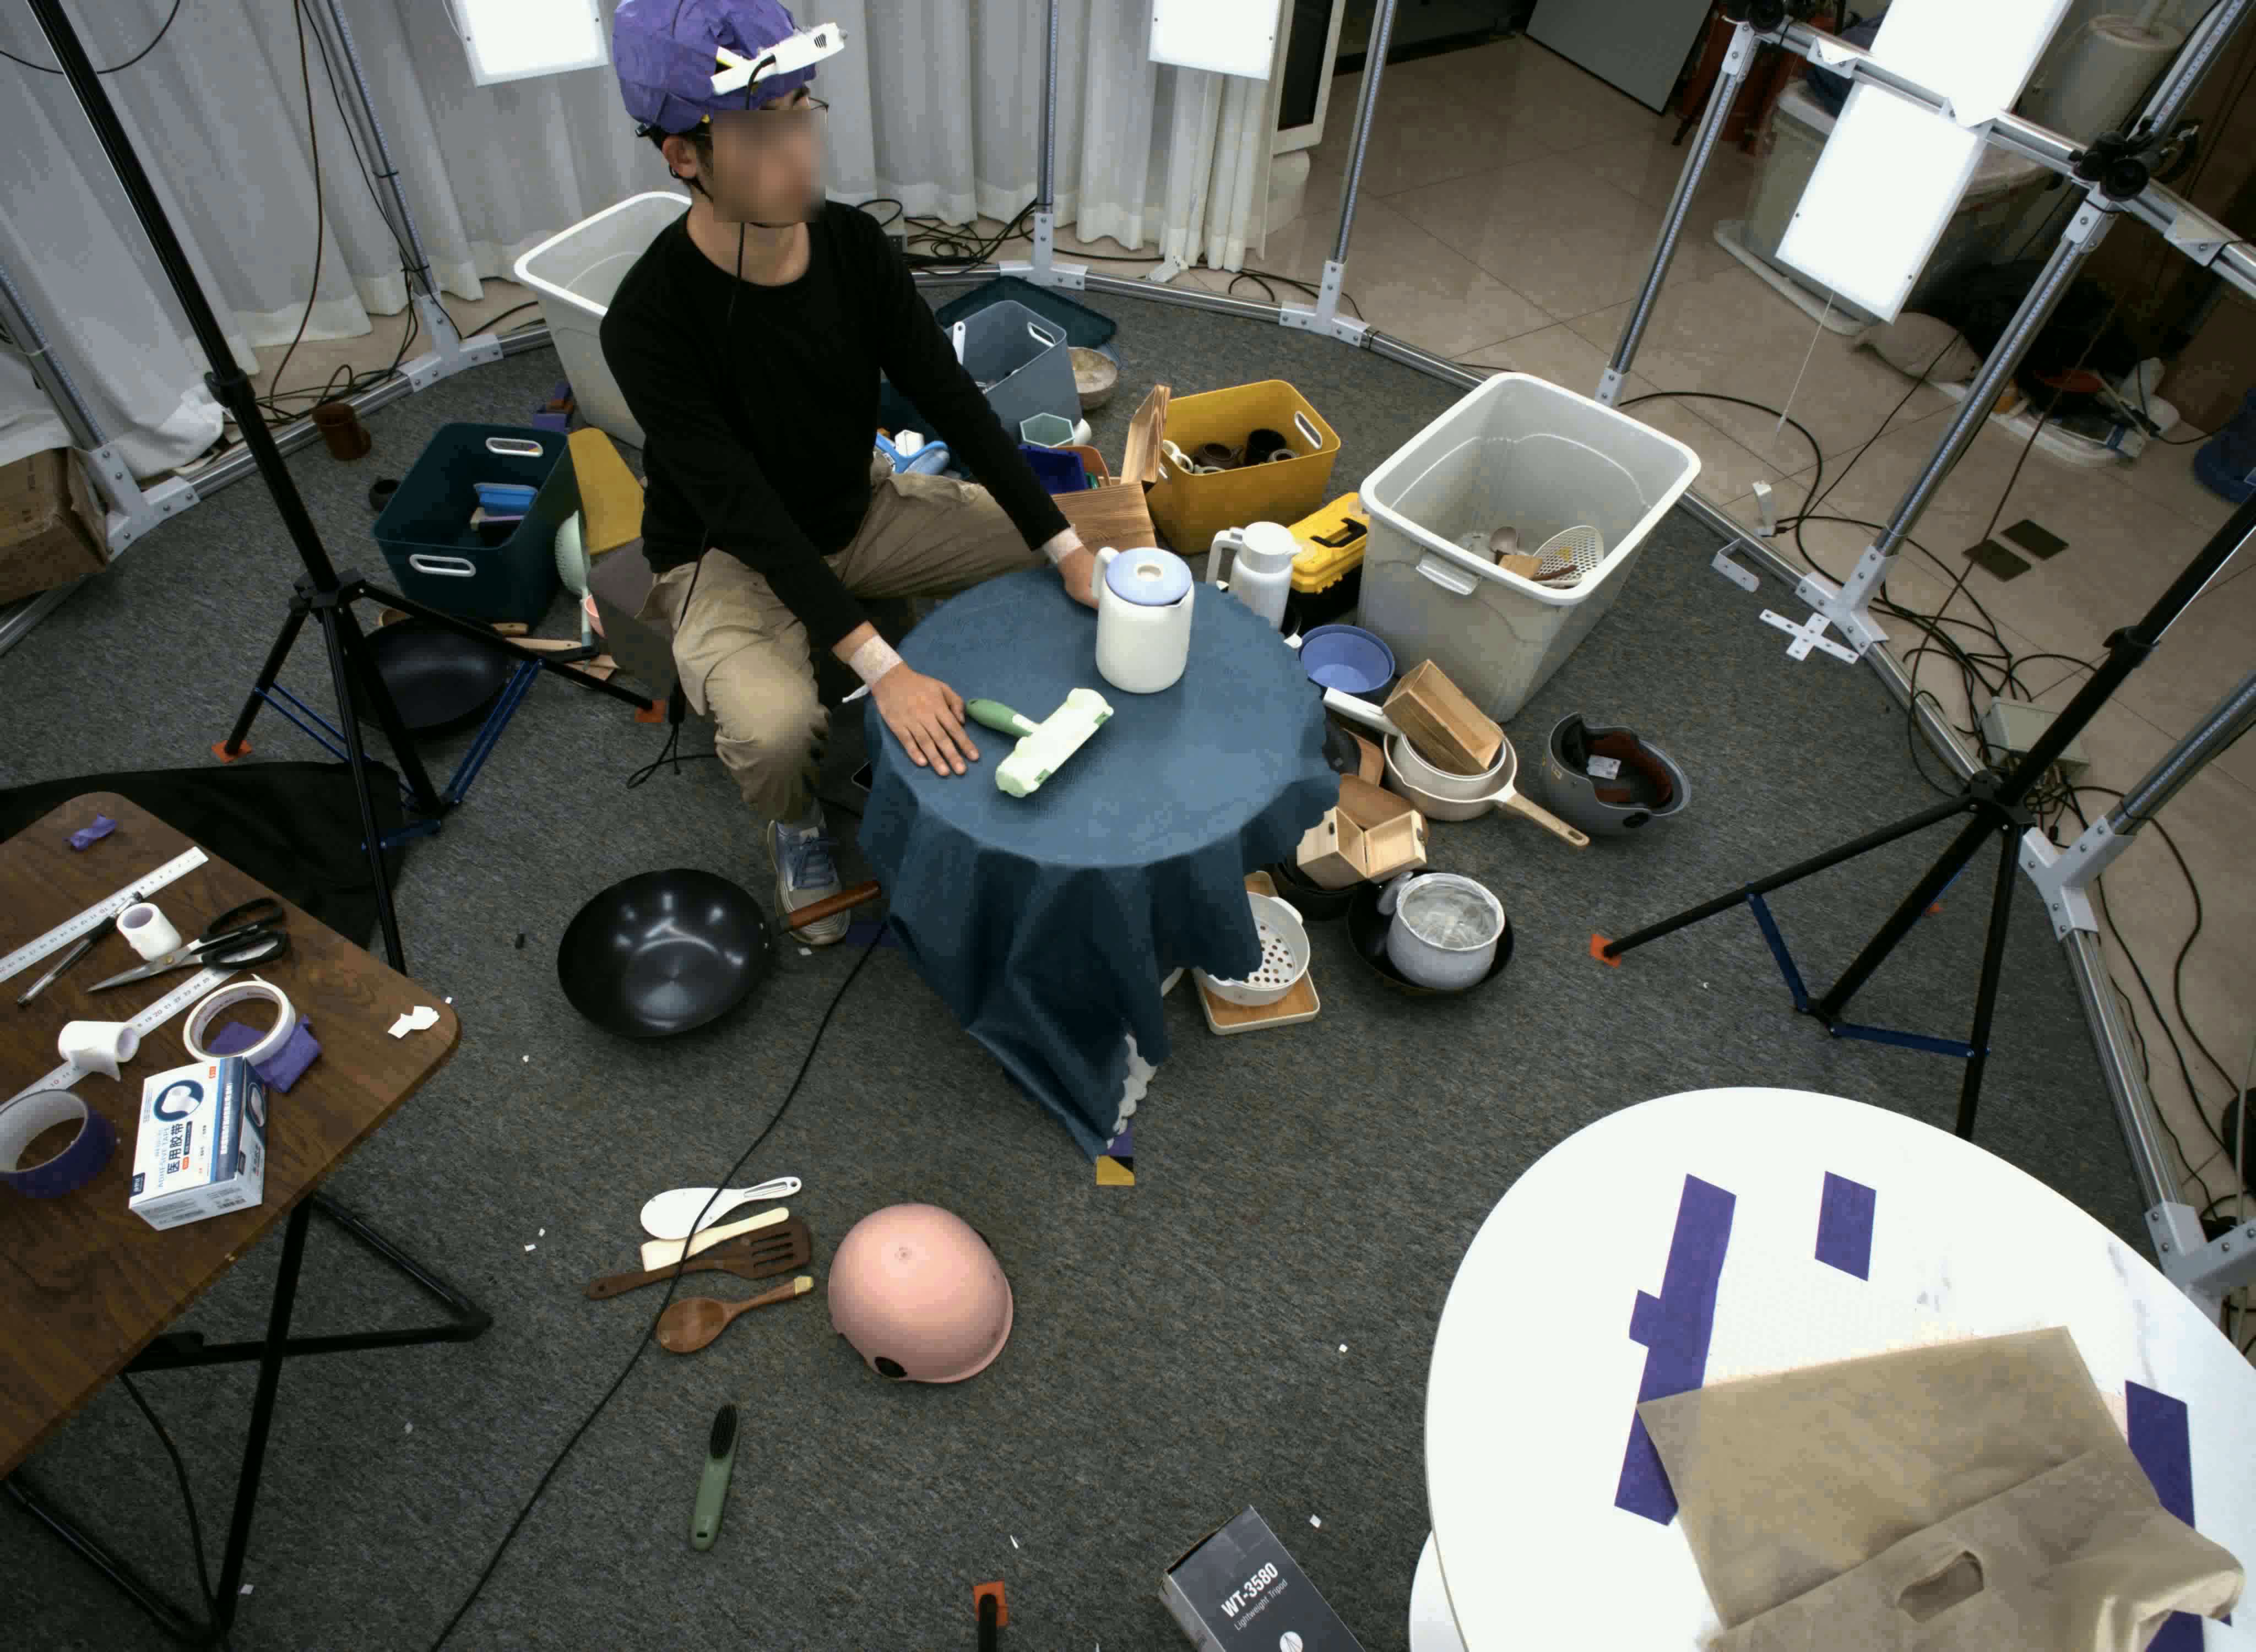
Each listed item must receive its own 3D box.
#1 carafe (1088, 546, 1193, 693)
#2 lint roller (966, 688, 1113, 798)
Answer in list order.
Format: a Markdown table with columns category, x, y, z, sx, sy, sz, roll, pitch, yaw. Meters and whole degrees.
| category | x | y | z | sx | sy | sz | roll | pitch | yaw |
| --- | --- | --- | --- | --- | --- | --- | --- | --- | --- |
| carafe | 0.008 | -0.305 | 1.824 | 0.133 | 0.178 | 0.194 | -29 | 55 | -26 |
| lint roller | -0.145 | -0.145 | 1.736 | 0.185 | 0.080 | 0.201 | 30 | 53 | 18 |
